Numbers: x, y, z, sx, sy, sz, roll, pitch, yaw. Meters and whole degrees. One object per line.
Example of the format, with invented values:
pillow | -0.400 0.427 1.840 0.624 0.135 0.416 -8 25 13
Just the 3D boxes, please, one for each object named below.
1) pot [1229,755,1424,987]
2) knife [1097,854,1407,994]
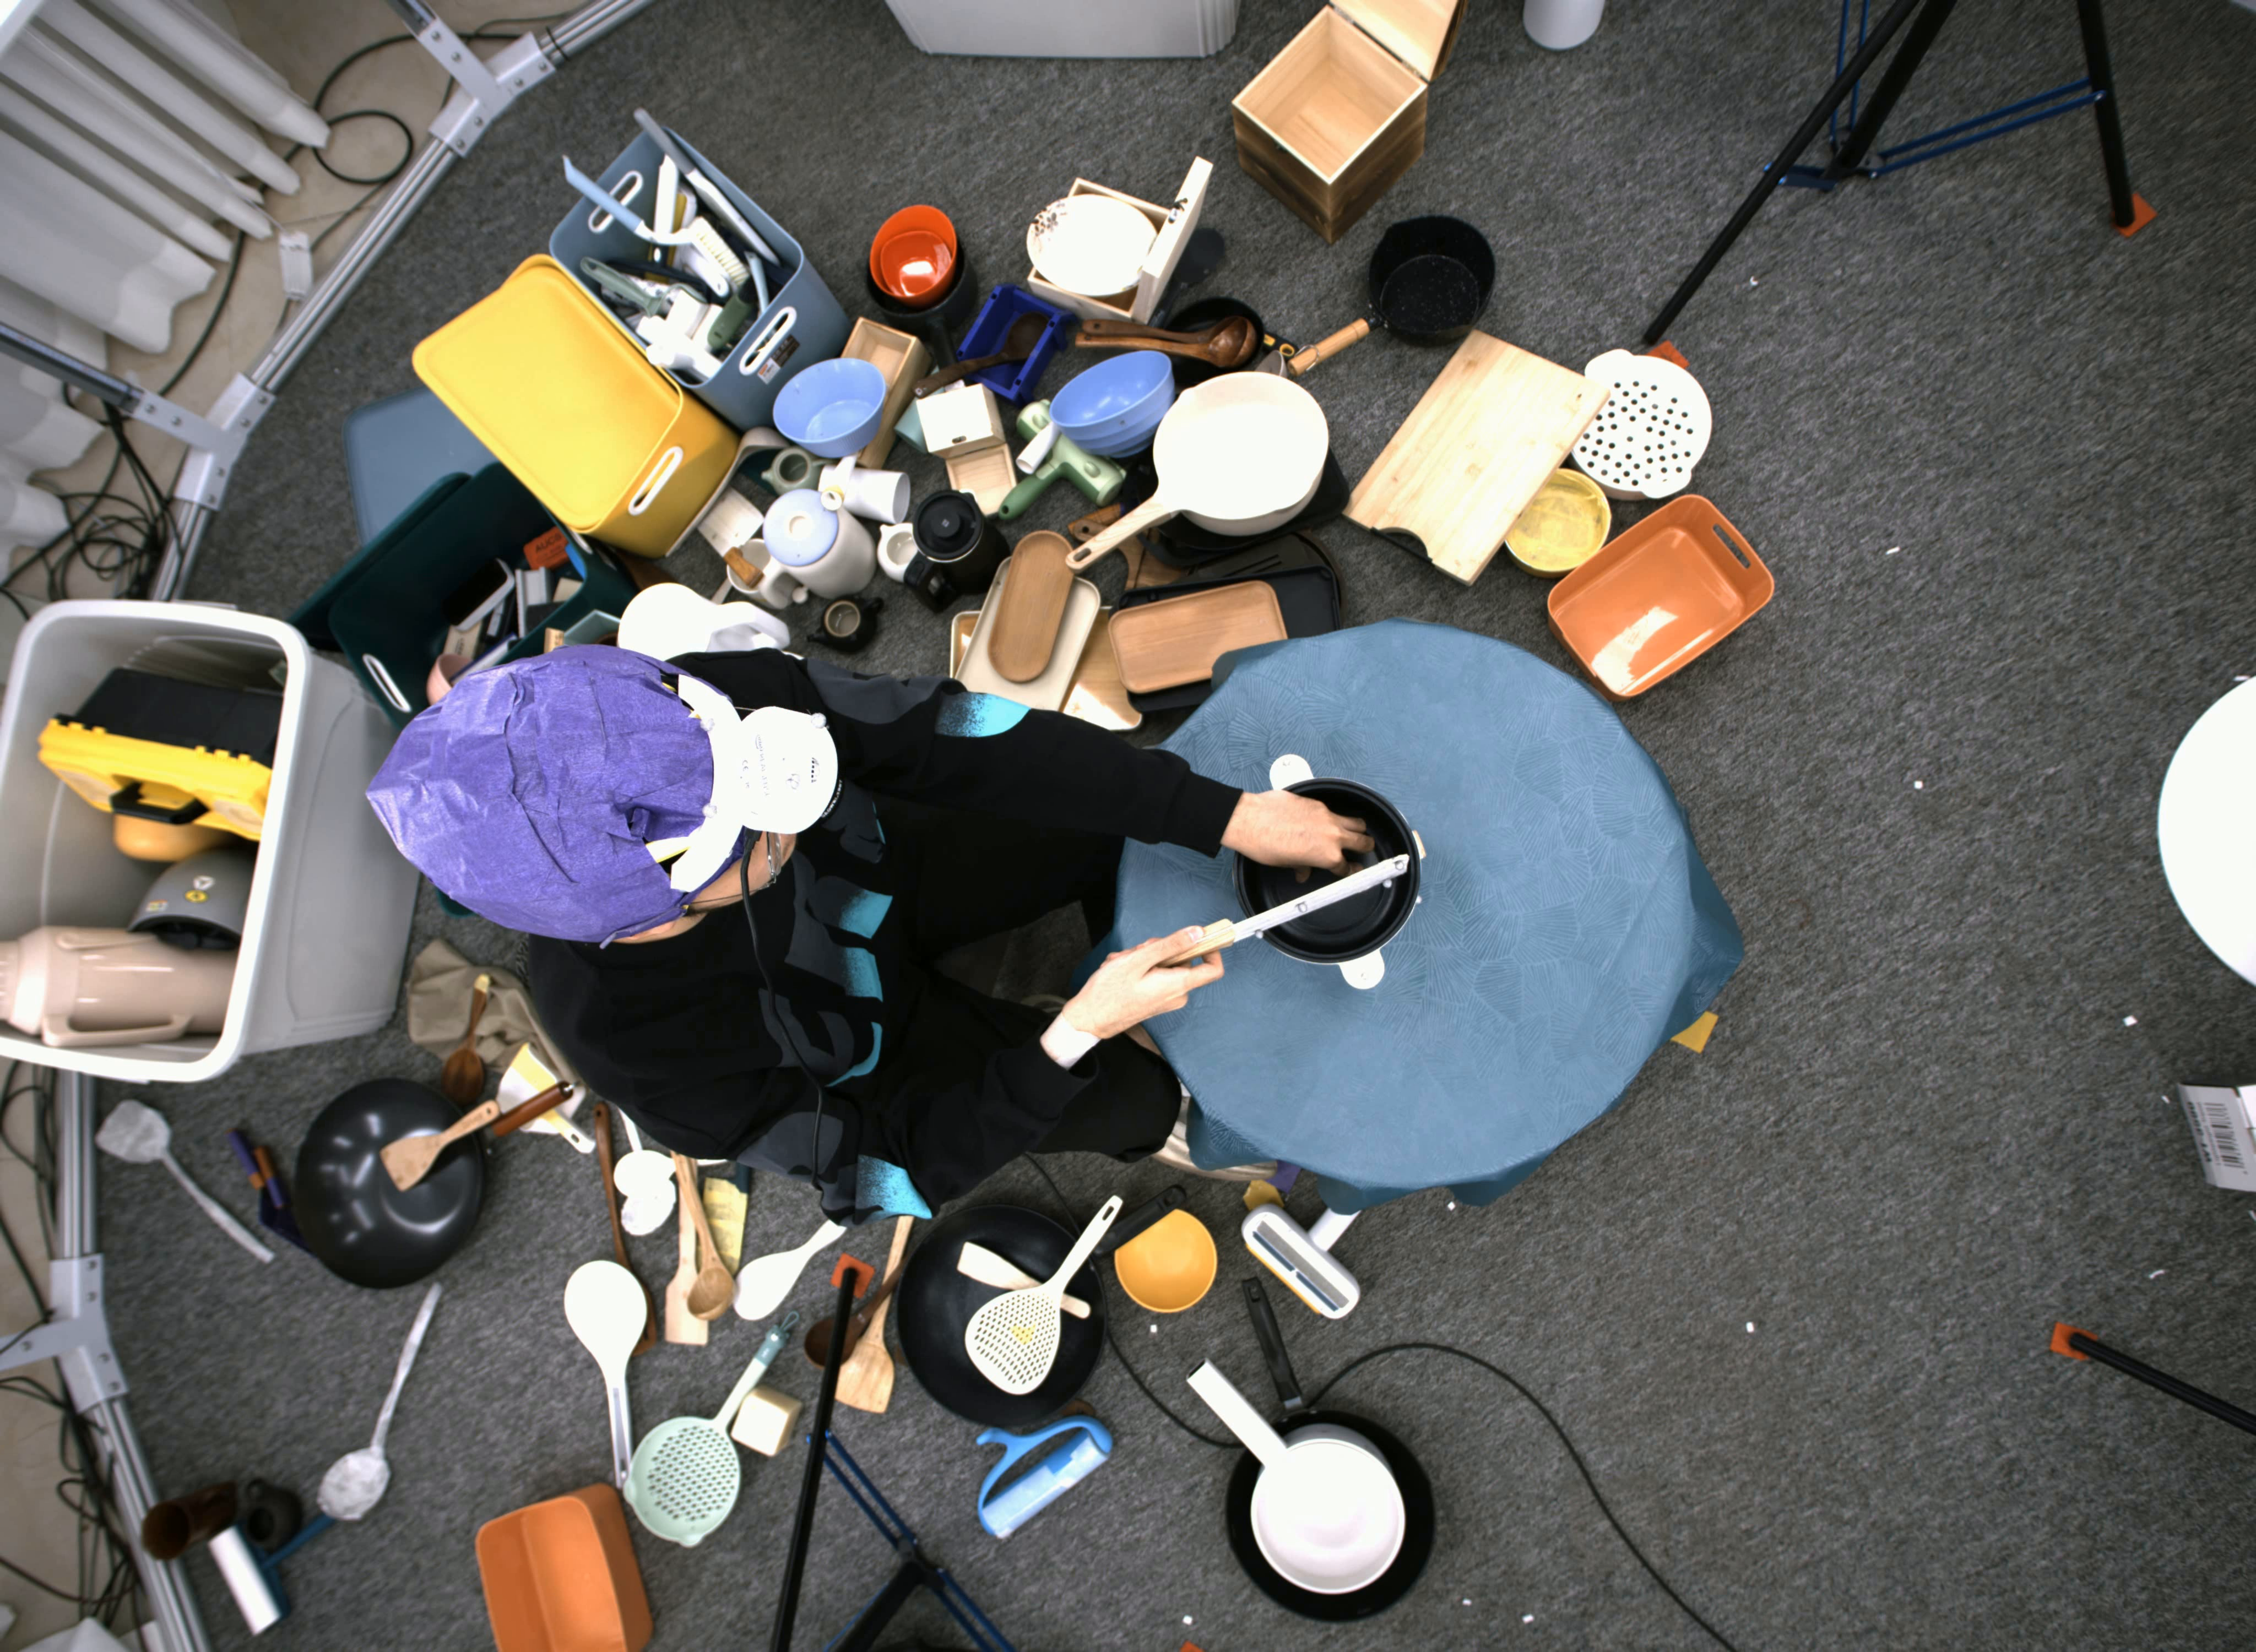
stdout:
pot | 0.206 0.045 1.403 0.192 0.142 0.239 -22 84 11
knife | 0.120 0.088 1.288 0.315 0.115 0.021 -22 75 -2
